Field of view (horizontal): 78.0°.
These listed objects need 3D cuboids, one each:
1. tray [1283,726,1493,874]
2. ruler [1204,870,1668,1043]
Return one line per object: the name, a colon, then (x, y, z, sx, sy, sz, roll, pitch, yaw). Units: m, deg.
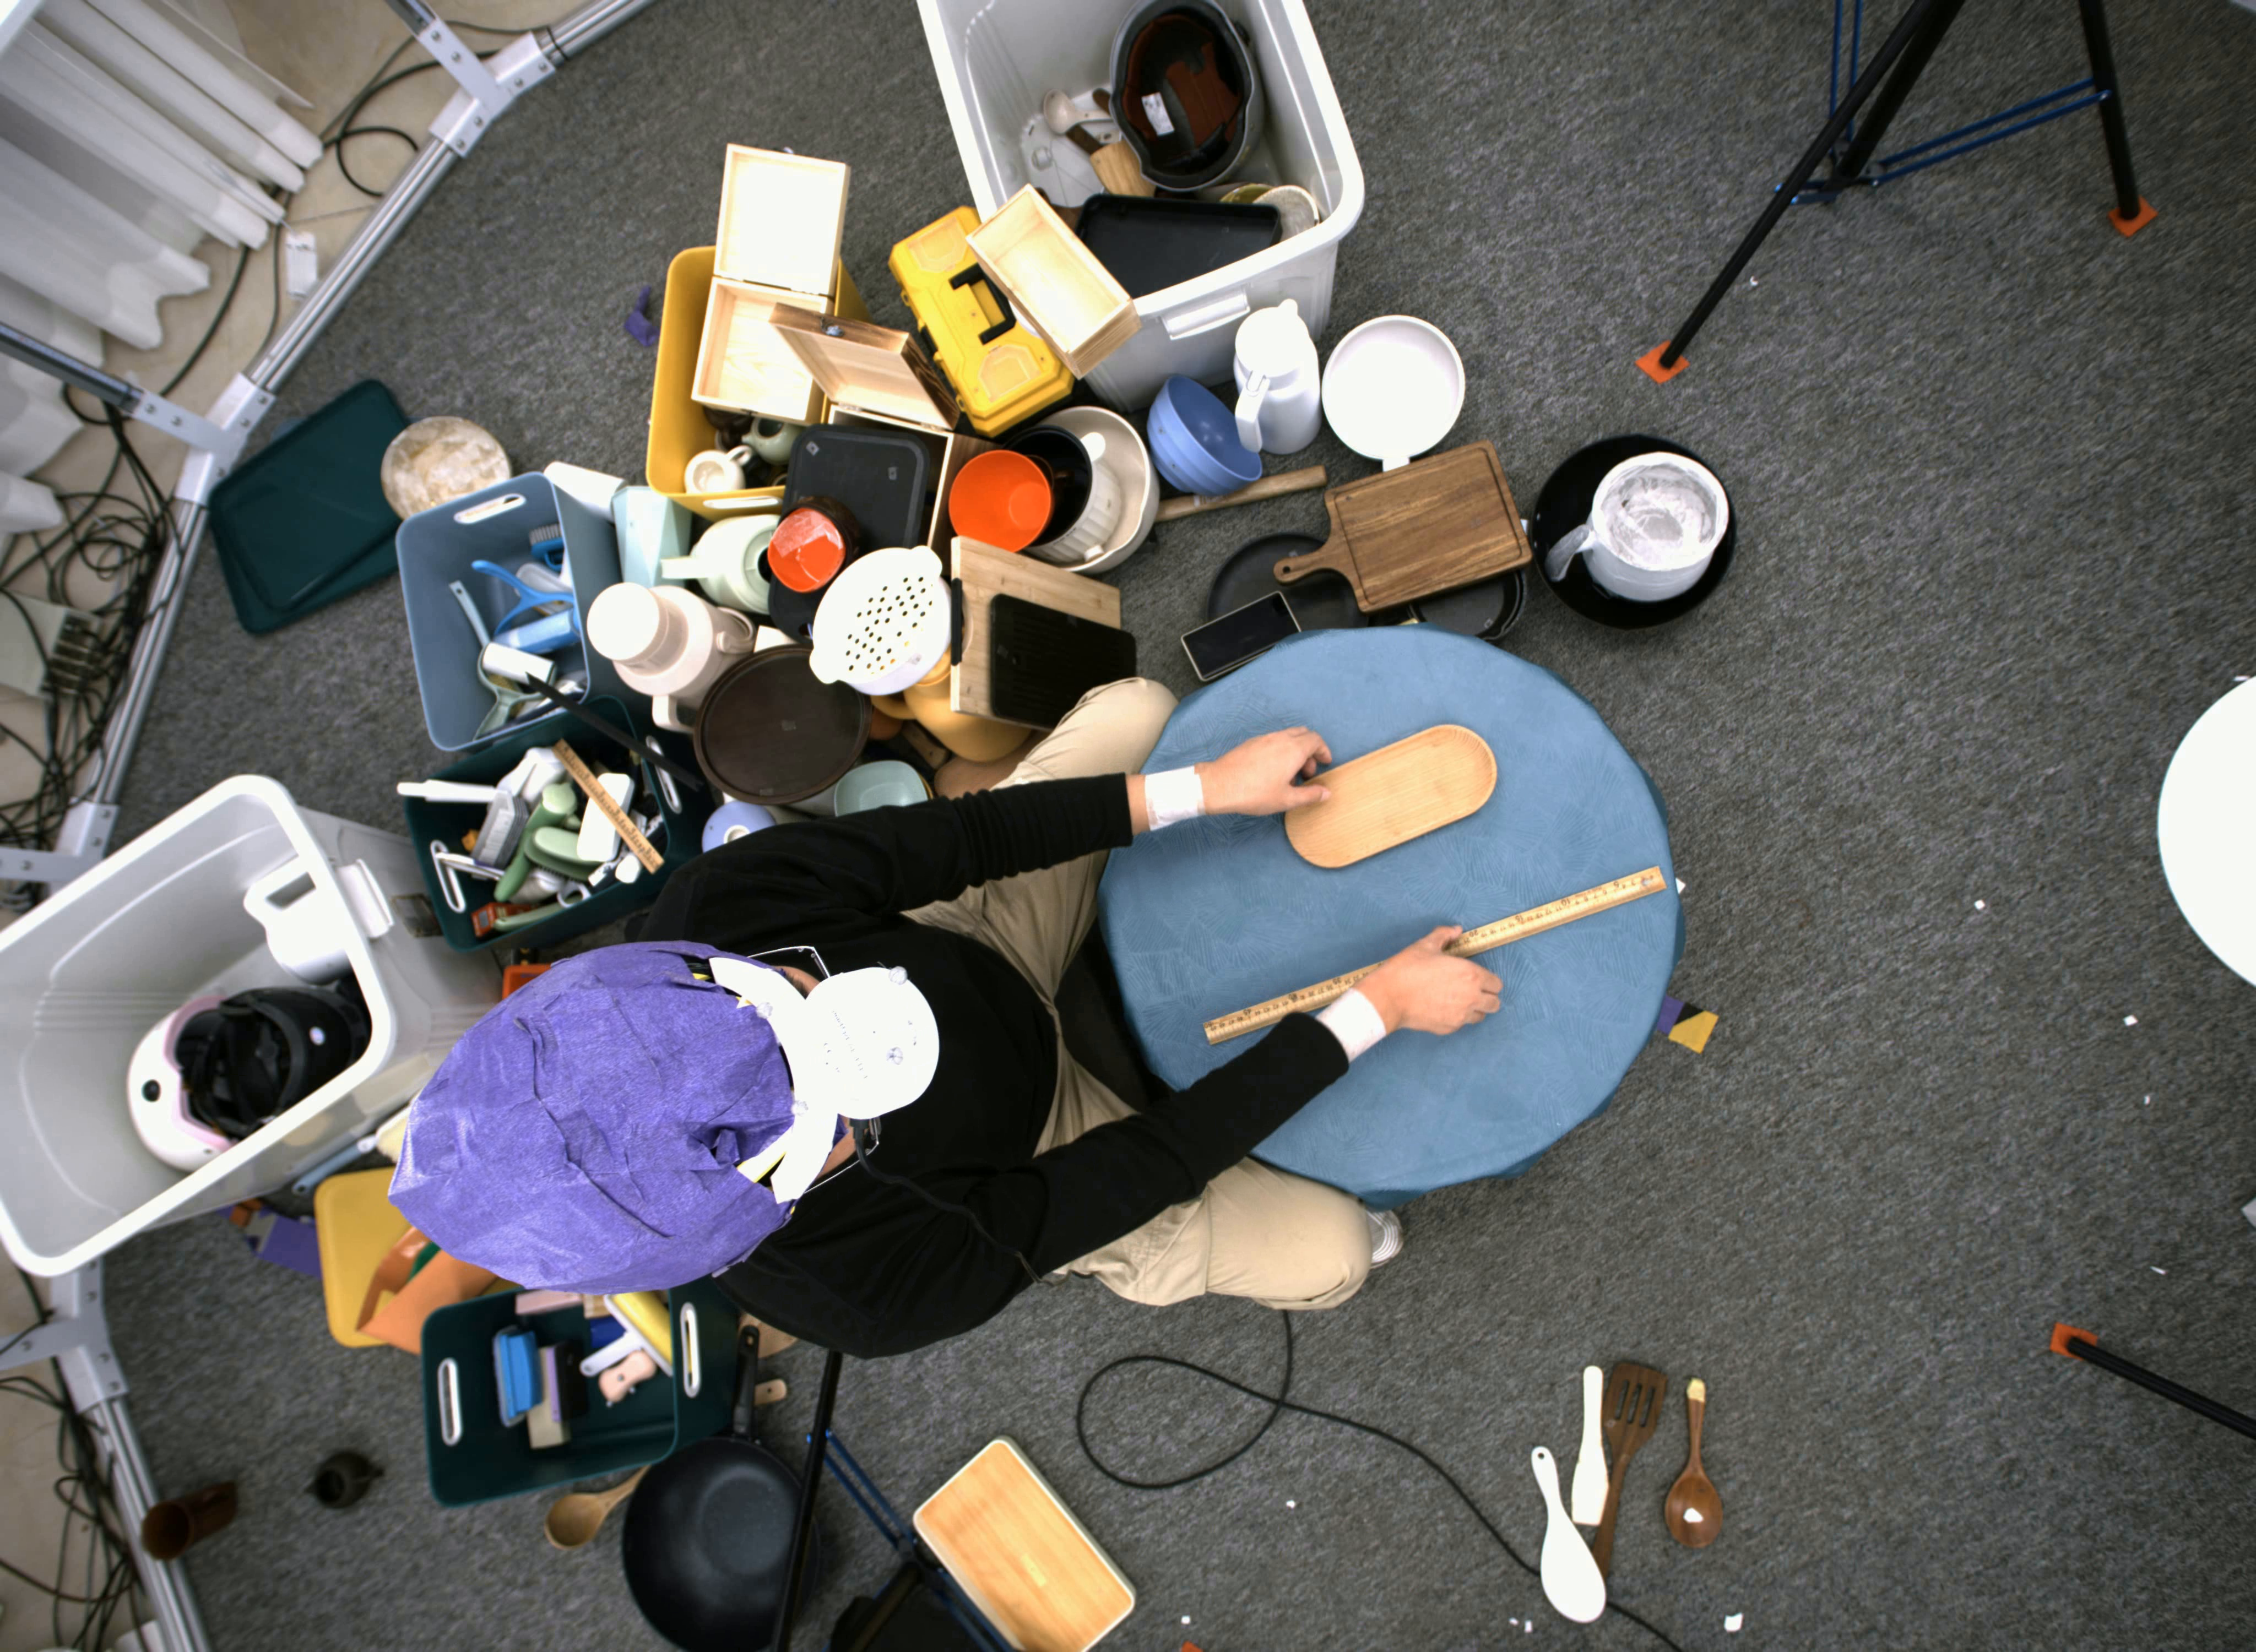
tray: (0.274, -0.028, 1.457, 0.233, 0.020, 0.101, -26, 81, 10)
ruler: (0.317, 0.135, 1.445, 0.503, 0.006, 0.026, -20, 80, 9)
